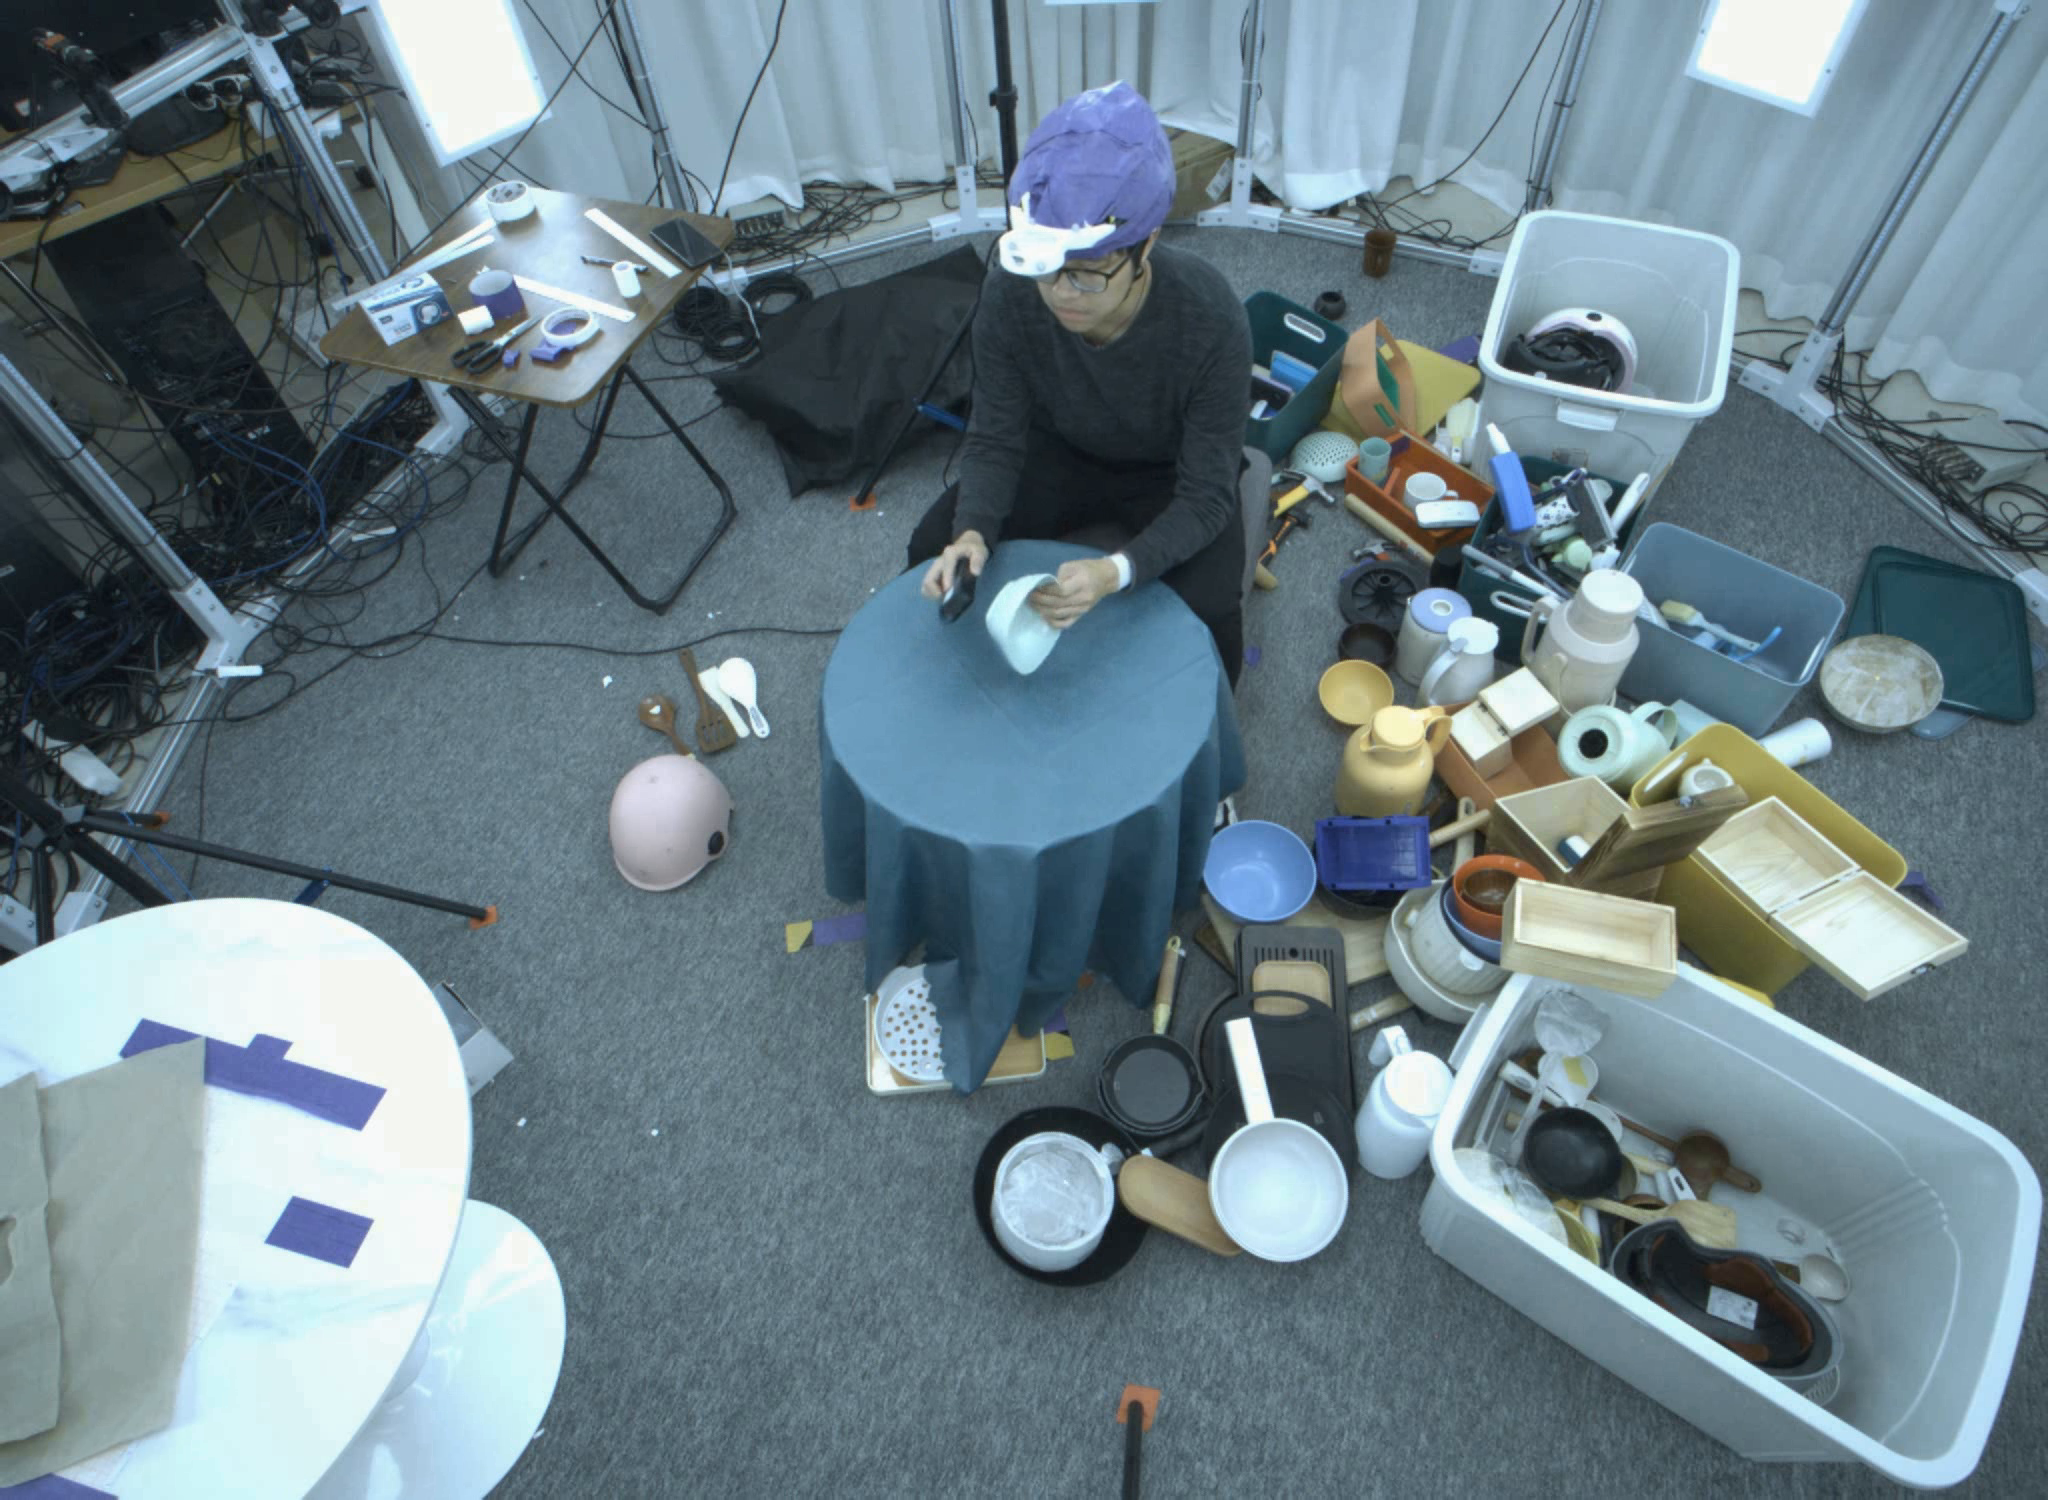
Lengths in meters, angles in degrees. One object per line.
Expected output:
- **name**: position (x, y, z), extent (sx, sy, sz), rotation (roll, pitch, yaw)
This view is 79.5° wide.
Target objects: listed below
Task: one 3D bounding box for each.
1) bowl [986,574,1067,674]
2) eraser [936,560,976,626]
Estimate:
- **bowl**: position (-0.004, -0.189, 1.776), extent (0.057, 0.154, 0.152), rotation (25, 60, 28)
- **eraser**: position (-0.100, -0.235, 1.818), extent (0.053, 0.031, 0.124), rotation (-40, 24, 23)
